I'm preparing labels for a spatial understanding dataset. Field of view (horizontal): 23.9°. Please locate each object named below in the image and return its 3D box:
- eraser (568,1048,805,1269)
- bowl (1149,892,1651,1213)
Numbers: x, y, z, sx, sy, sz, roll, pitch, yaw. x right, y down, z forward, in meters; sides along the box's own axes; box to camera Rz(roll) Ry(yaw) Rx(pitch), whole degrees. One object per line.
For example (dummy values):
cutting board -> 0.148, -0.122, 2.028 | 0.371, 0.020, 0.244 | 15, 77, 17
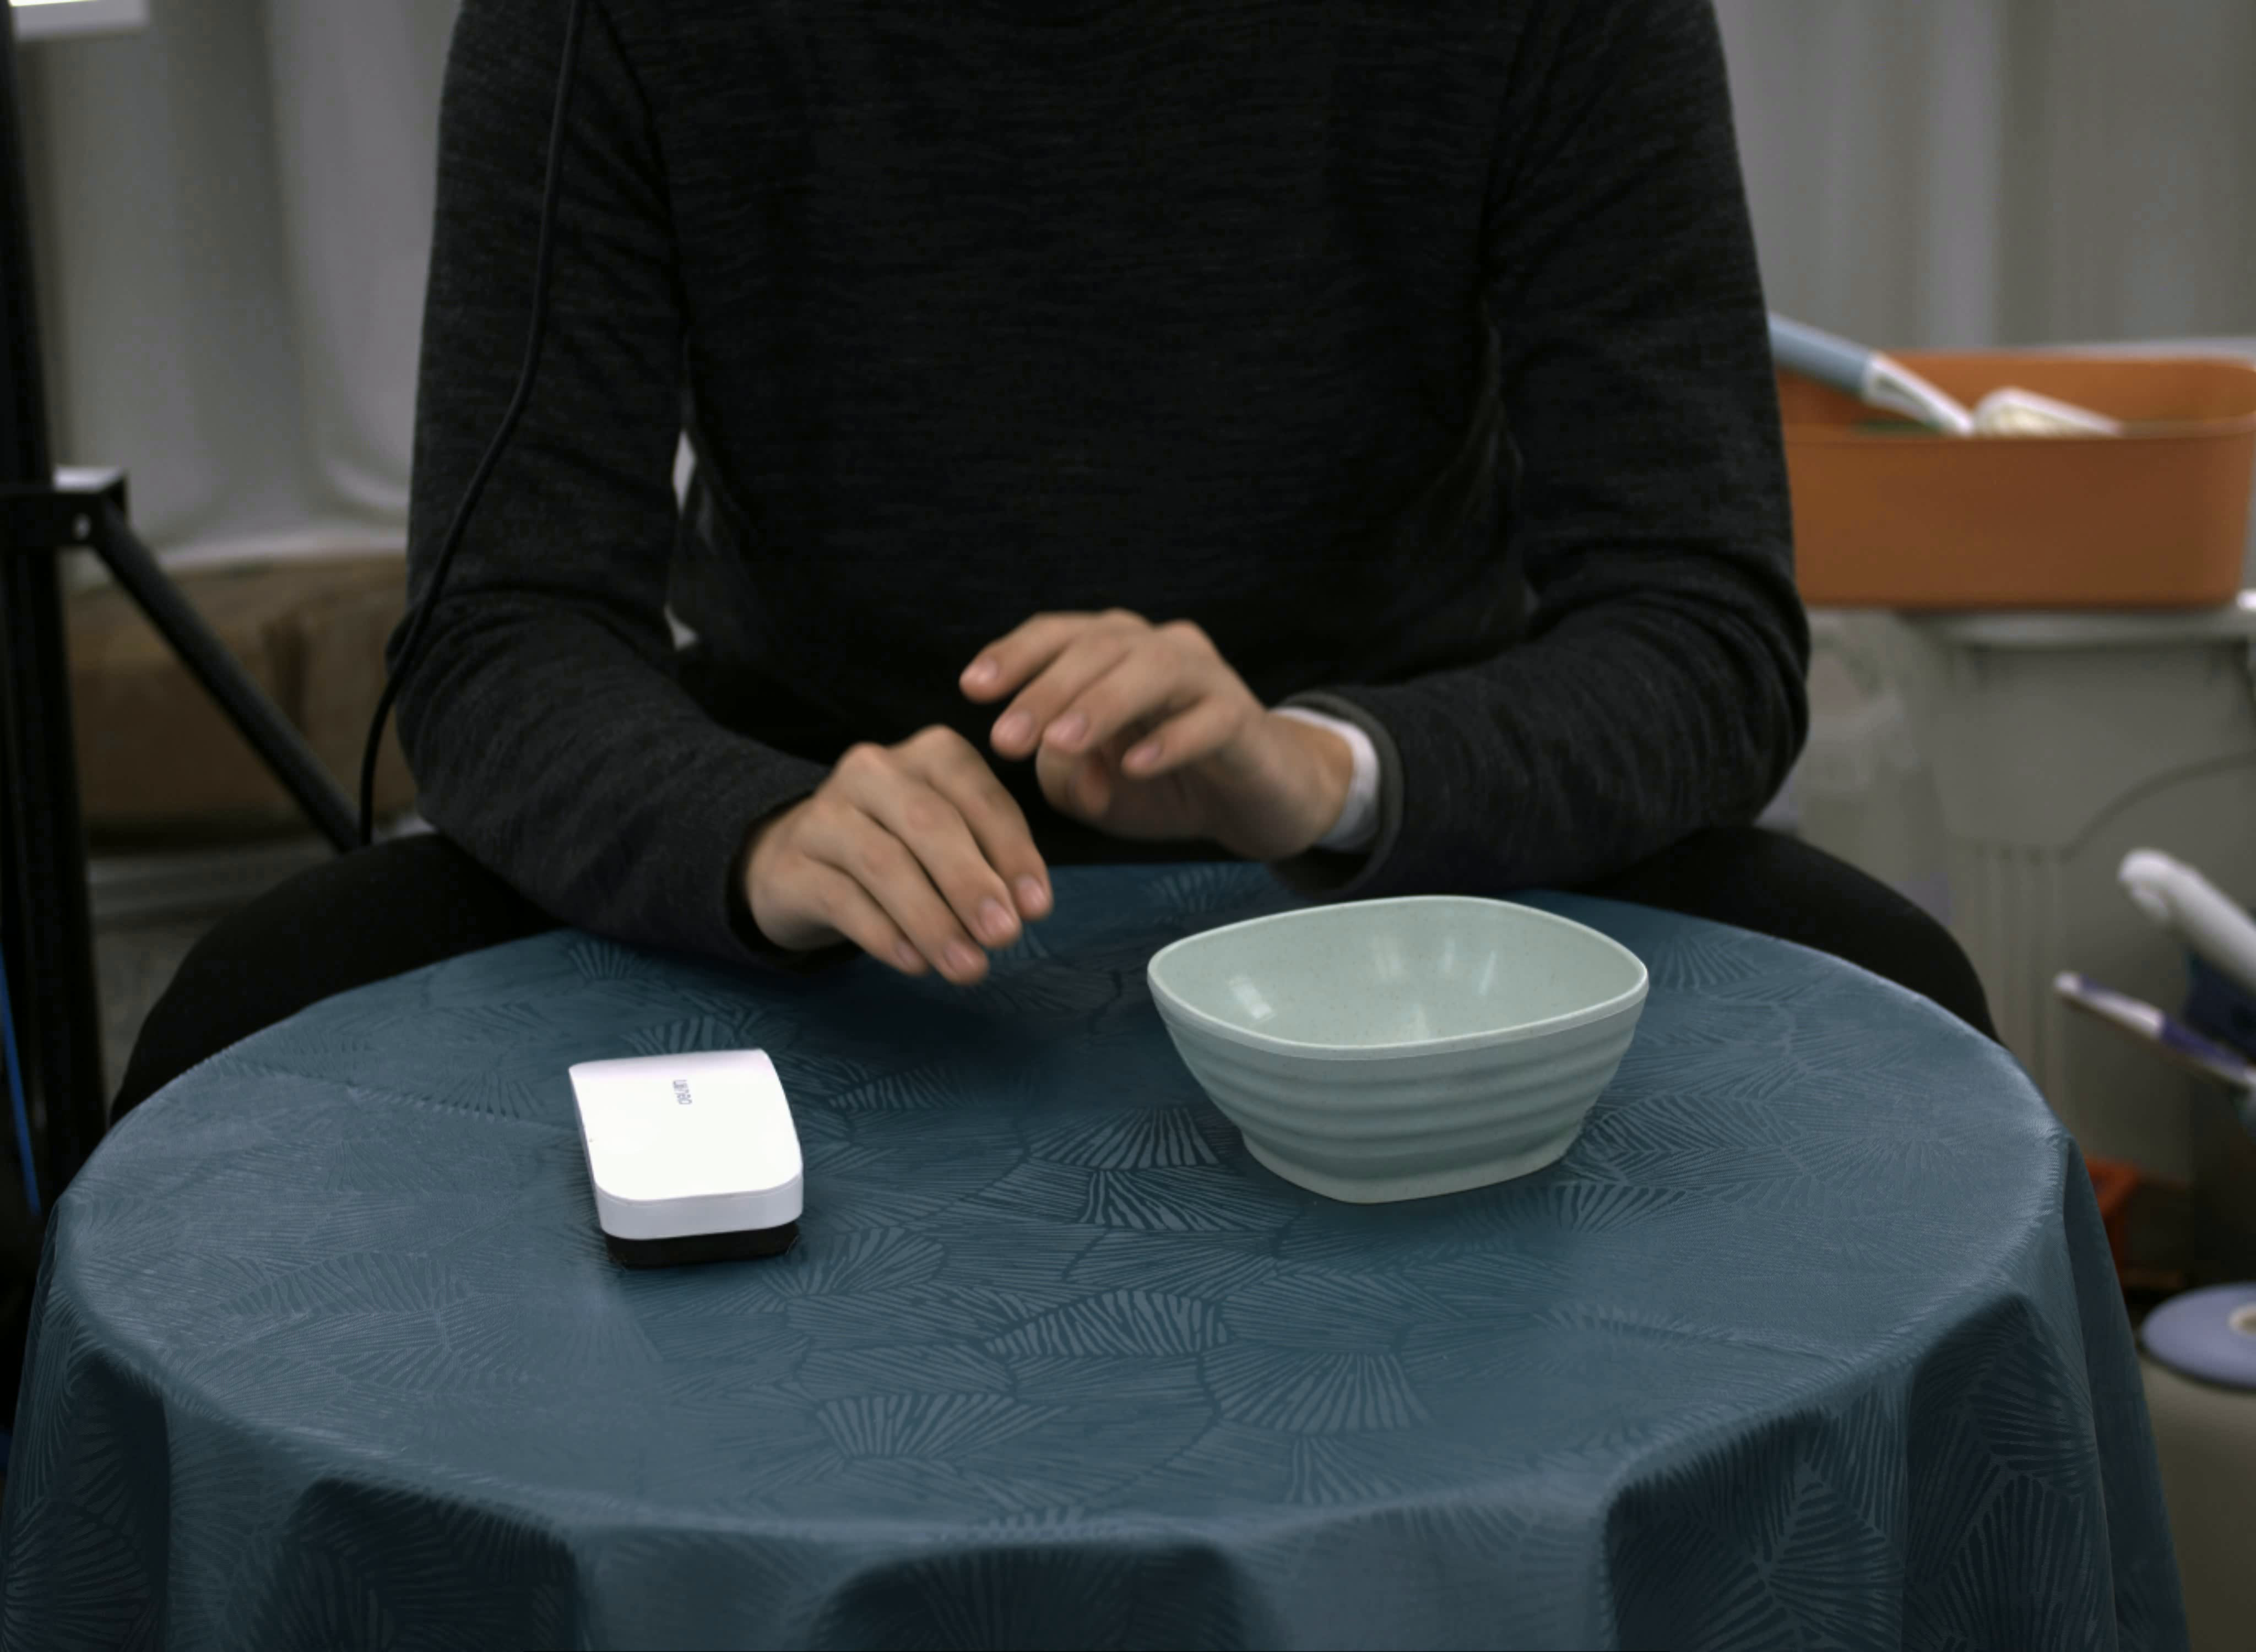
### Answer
eraser -> -0.130, 0.094, 1.573 | 0.062, 0.034, 0.133 | -3, 17, -9
bowl -> 0.081, 0.071, 1.575 | 0.150, 0.058, 0.152 | -2, 17, -1
